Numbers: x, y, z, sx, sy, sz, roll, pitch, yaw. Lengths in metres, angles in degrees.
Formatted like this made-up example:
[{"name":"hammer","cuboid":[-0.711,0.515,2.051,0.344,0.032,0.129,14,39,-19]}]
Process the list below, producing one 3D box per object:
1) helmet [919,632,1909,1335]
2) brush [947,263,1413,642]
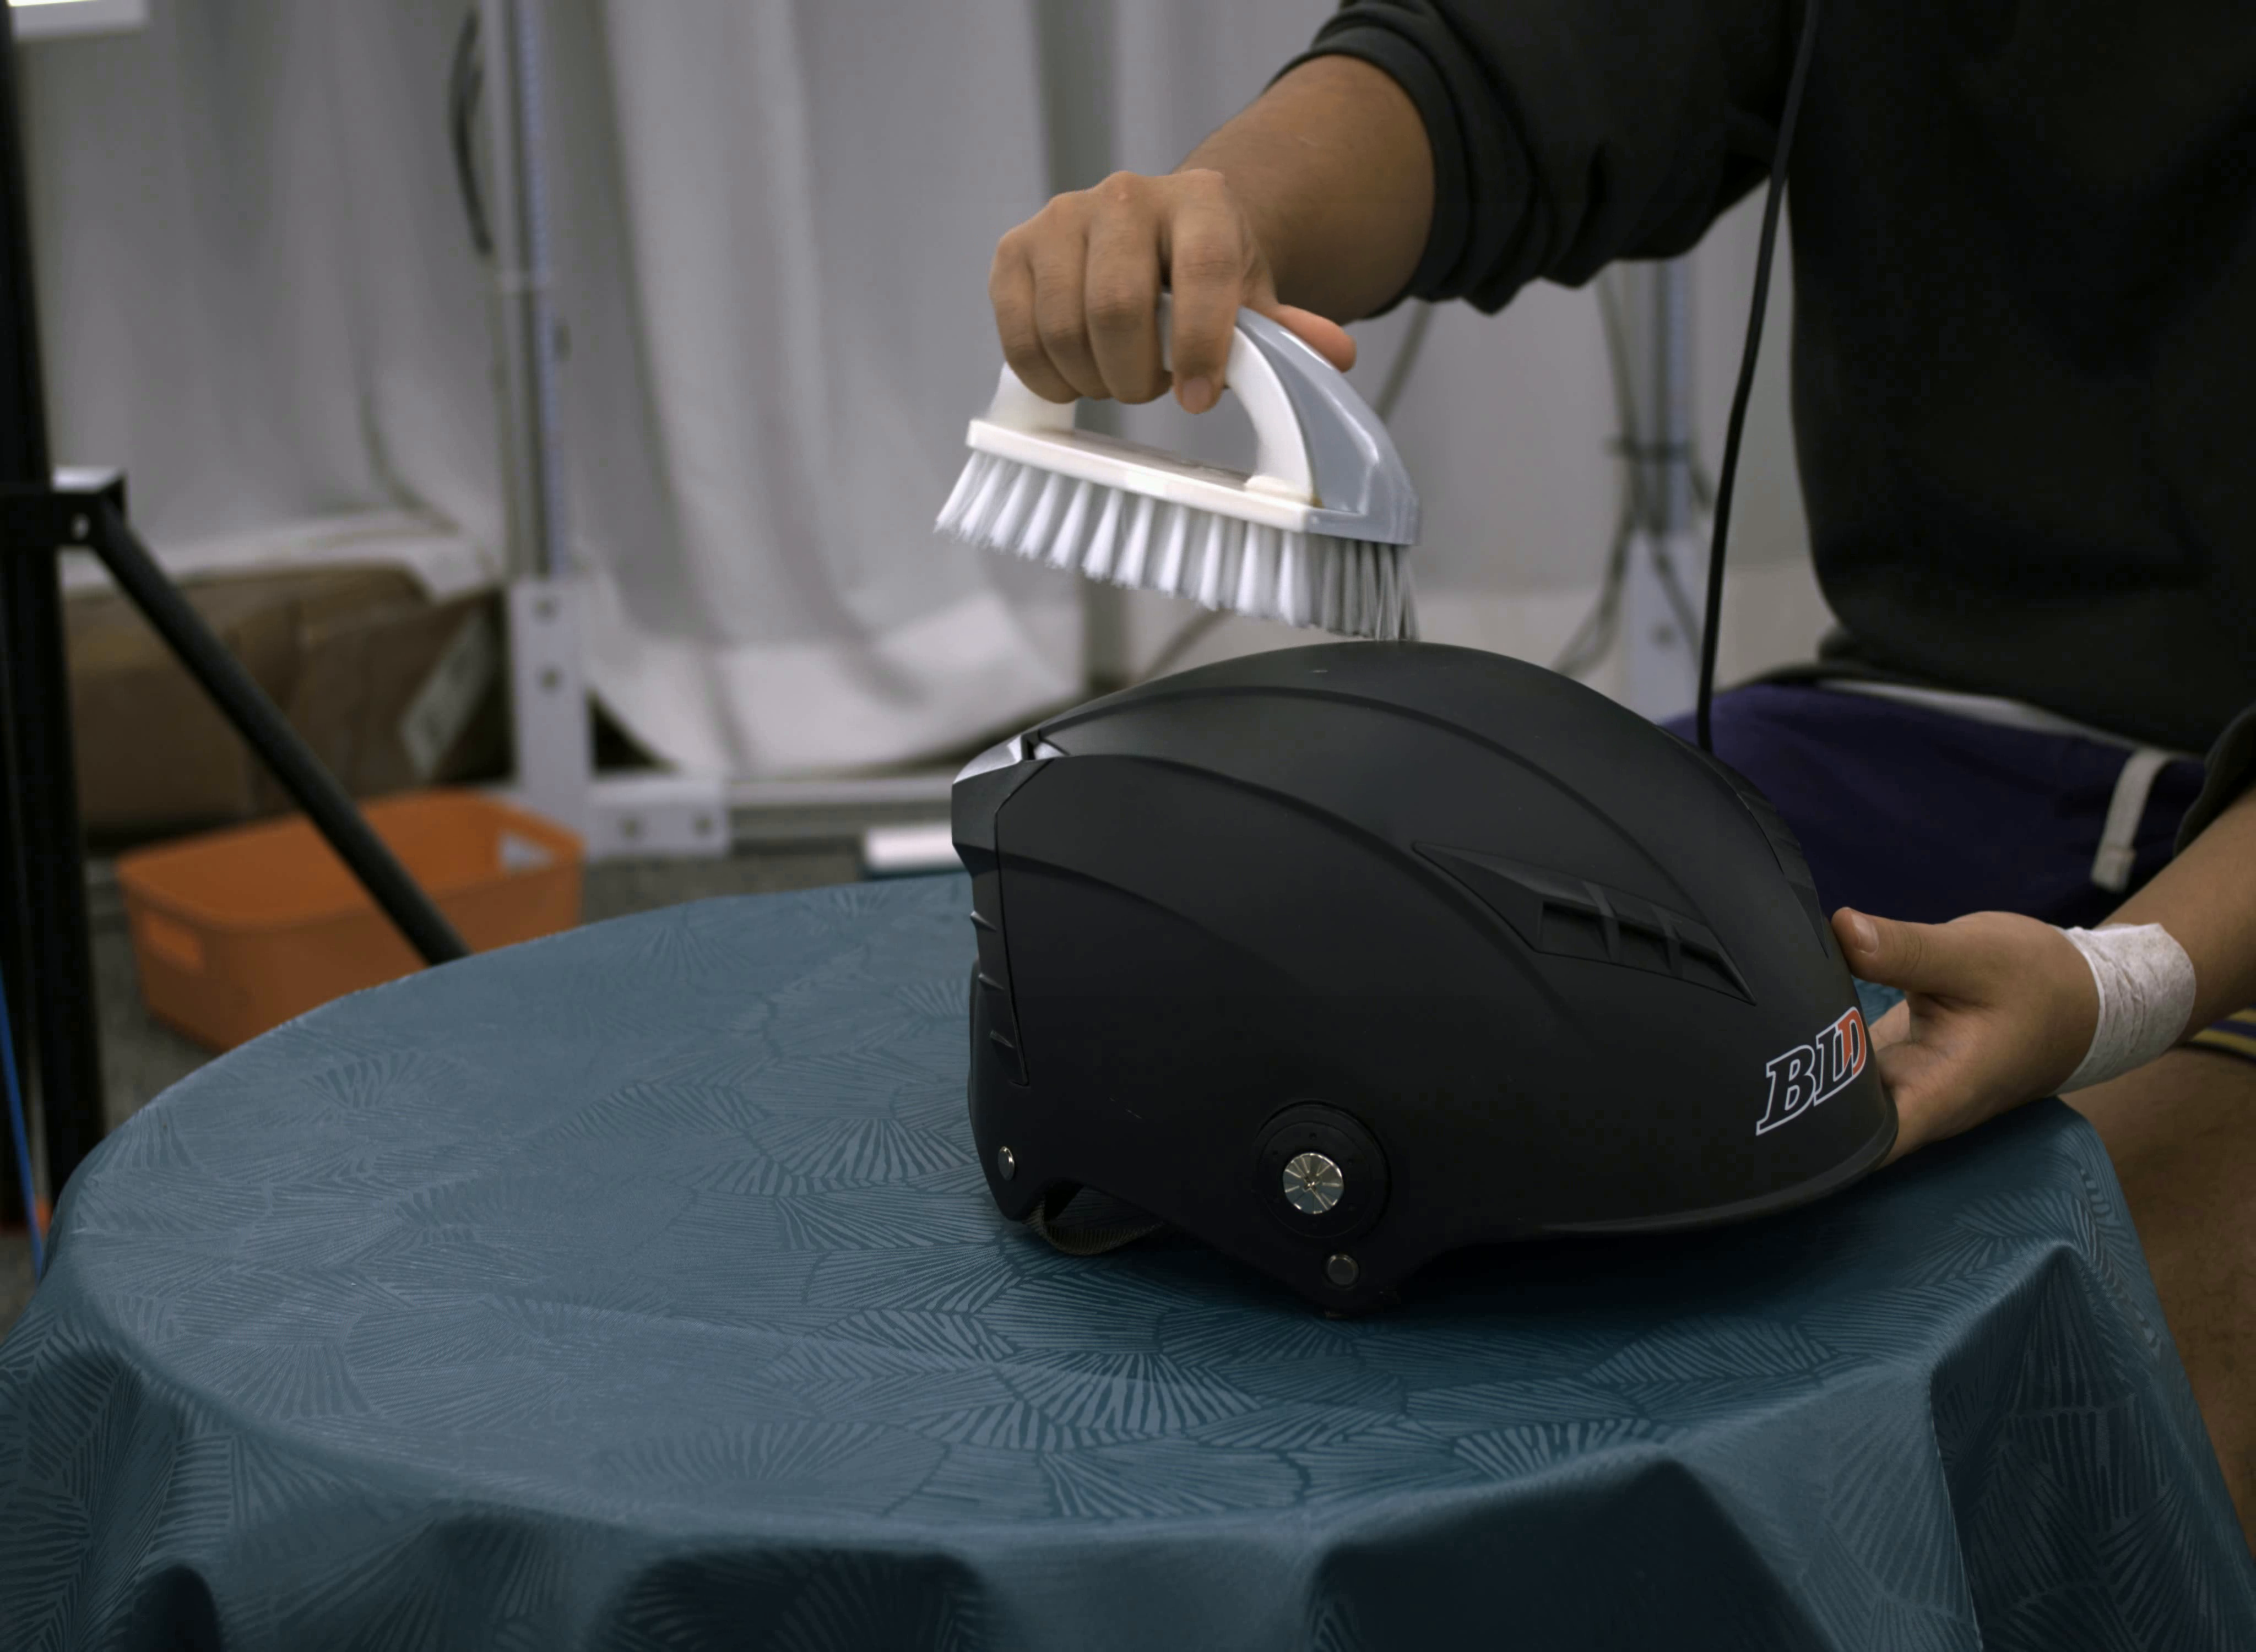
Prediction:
[{"name":"helmet","cuboid":[0.079,0.032,1.528,0.282,0.172,0.242,3,16,35]},{"name":"brush","cuboid":[0.025,-0.115,1.601,0.060,0.094,0.179,-2,17,-44]}]
